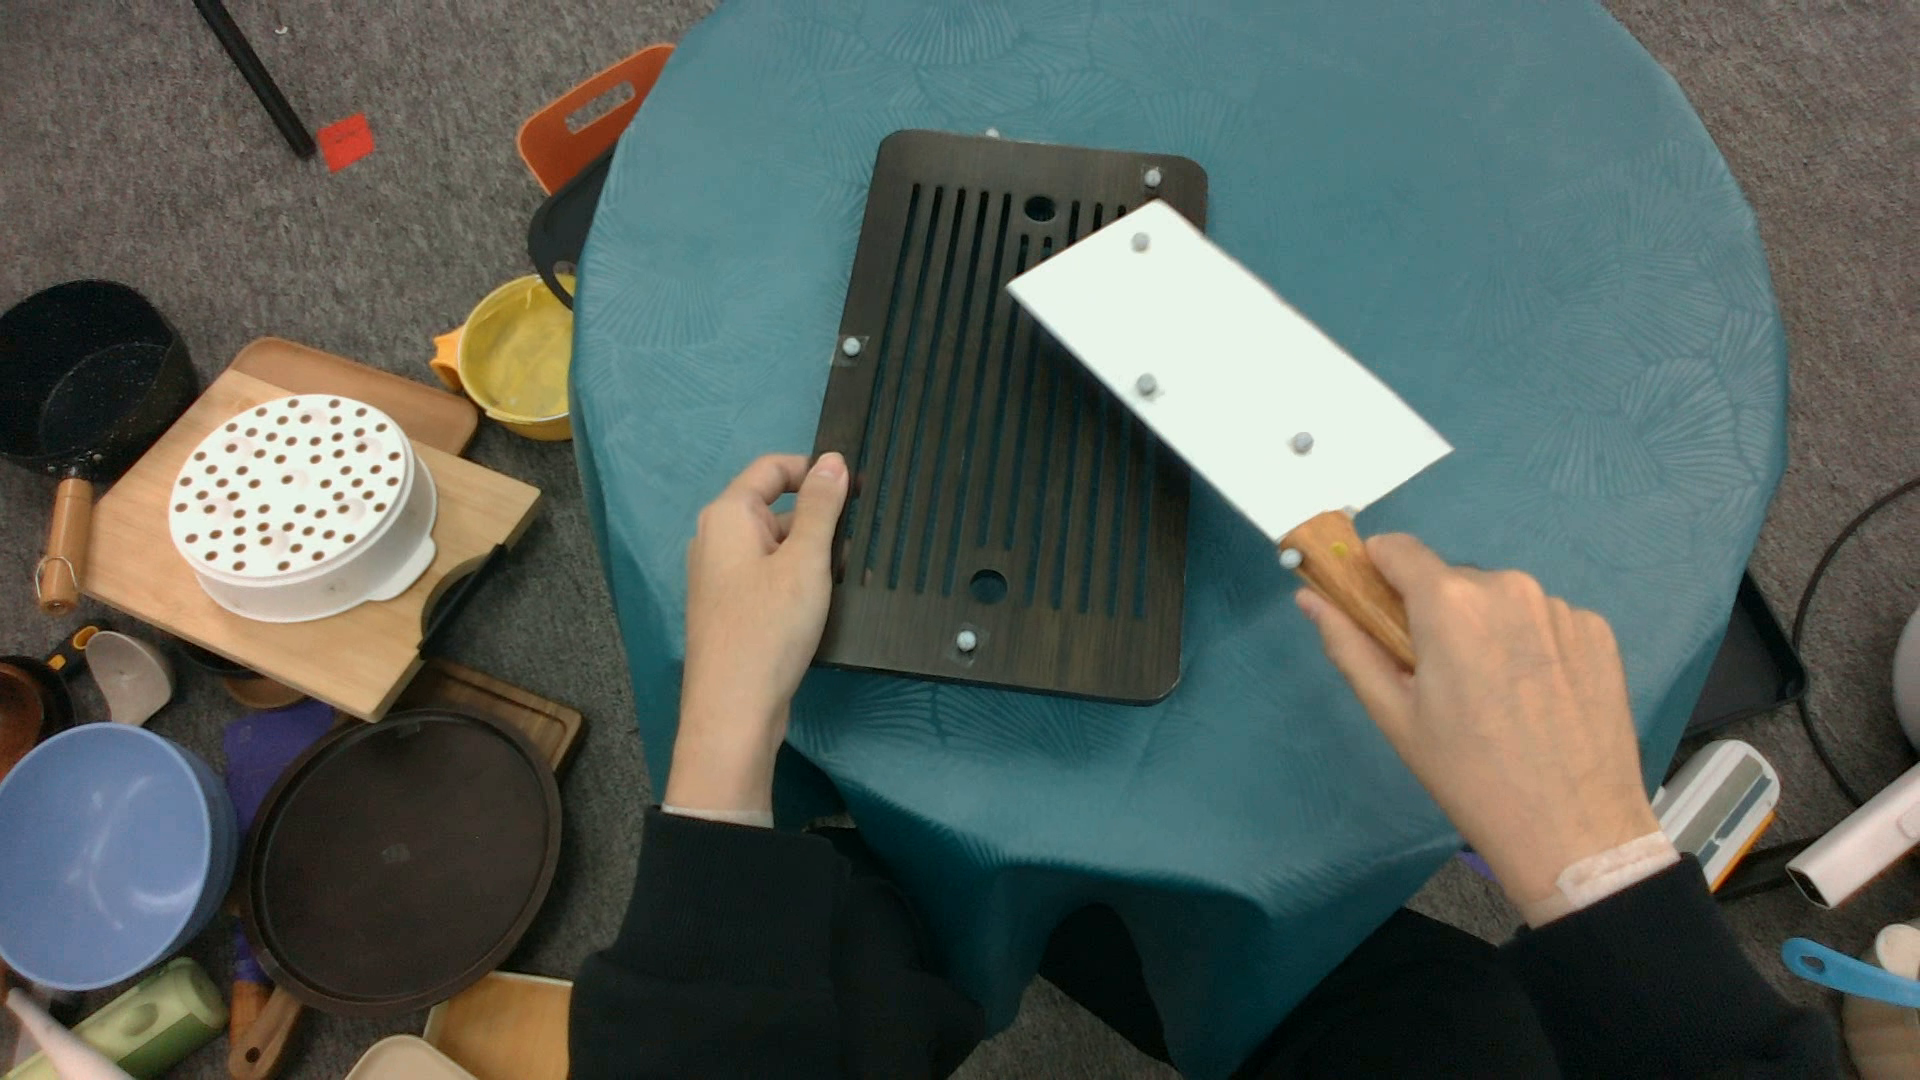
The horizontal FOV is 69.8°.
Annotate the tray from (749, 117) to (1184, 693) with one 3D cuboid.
[{"bbox_3d":[0.013,-0.076,0.638,0.170,0.018,0.307,7,60,2],"label":"tray"}]

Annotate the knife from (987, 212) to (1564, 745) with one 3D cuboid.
[{"bbox_3d":[0.136,-0.045,0.573,0.093,0.021,0.306,-33,60,-19],"label":"knife"}]
